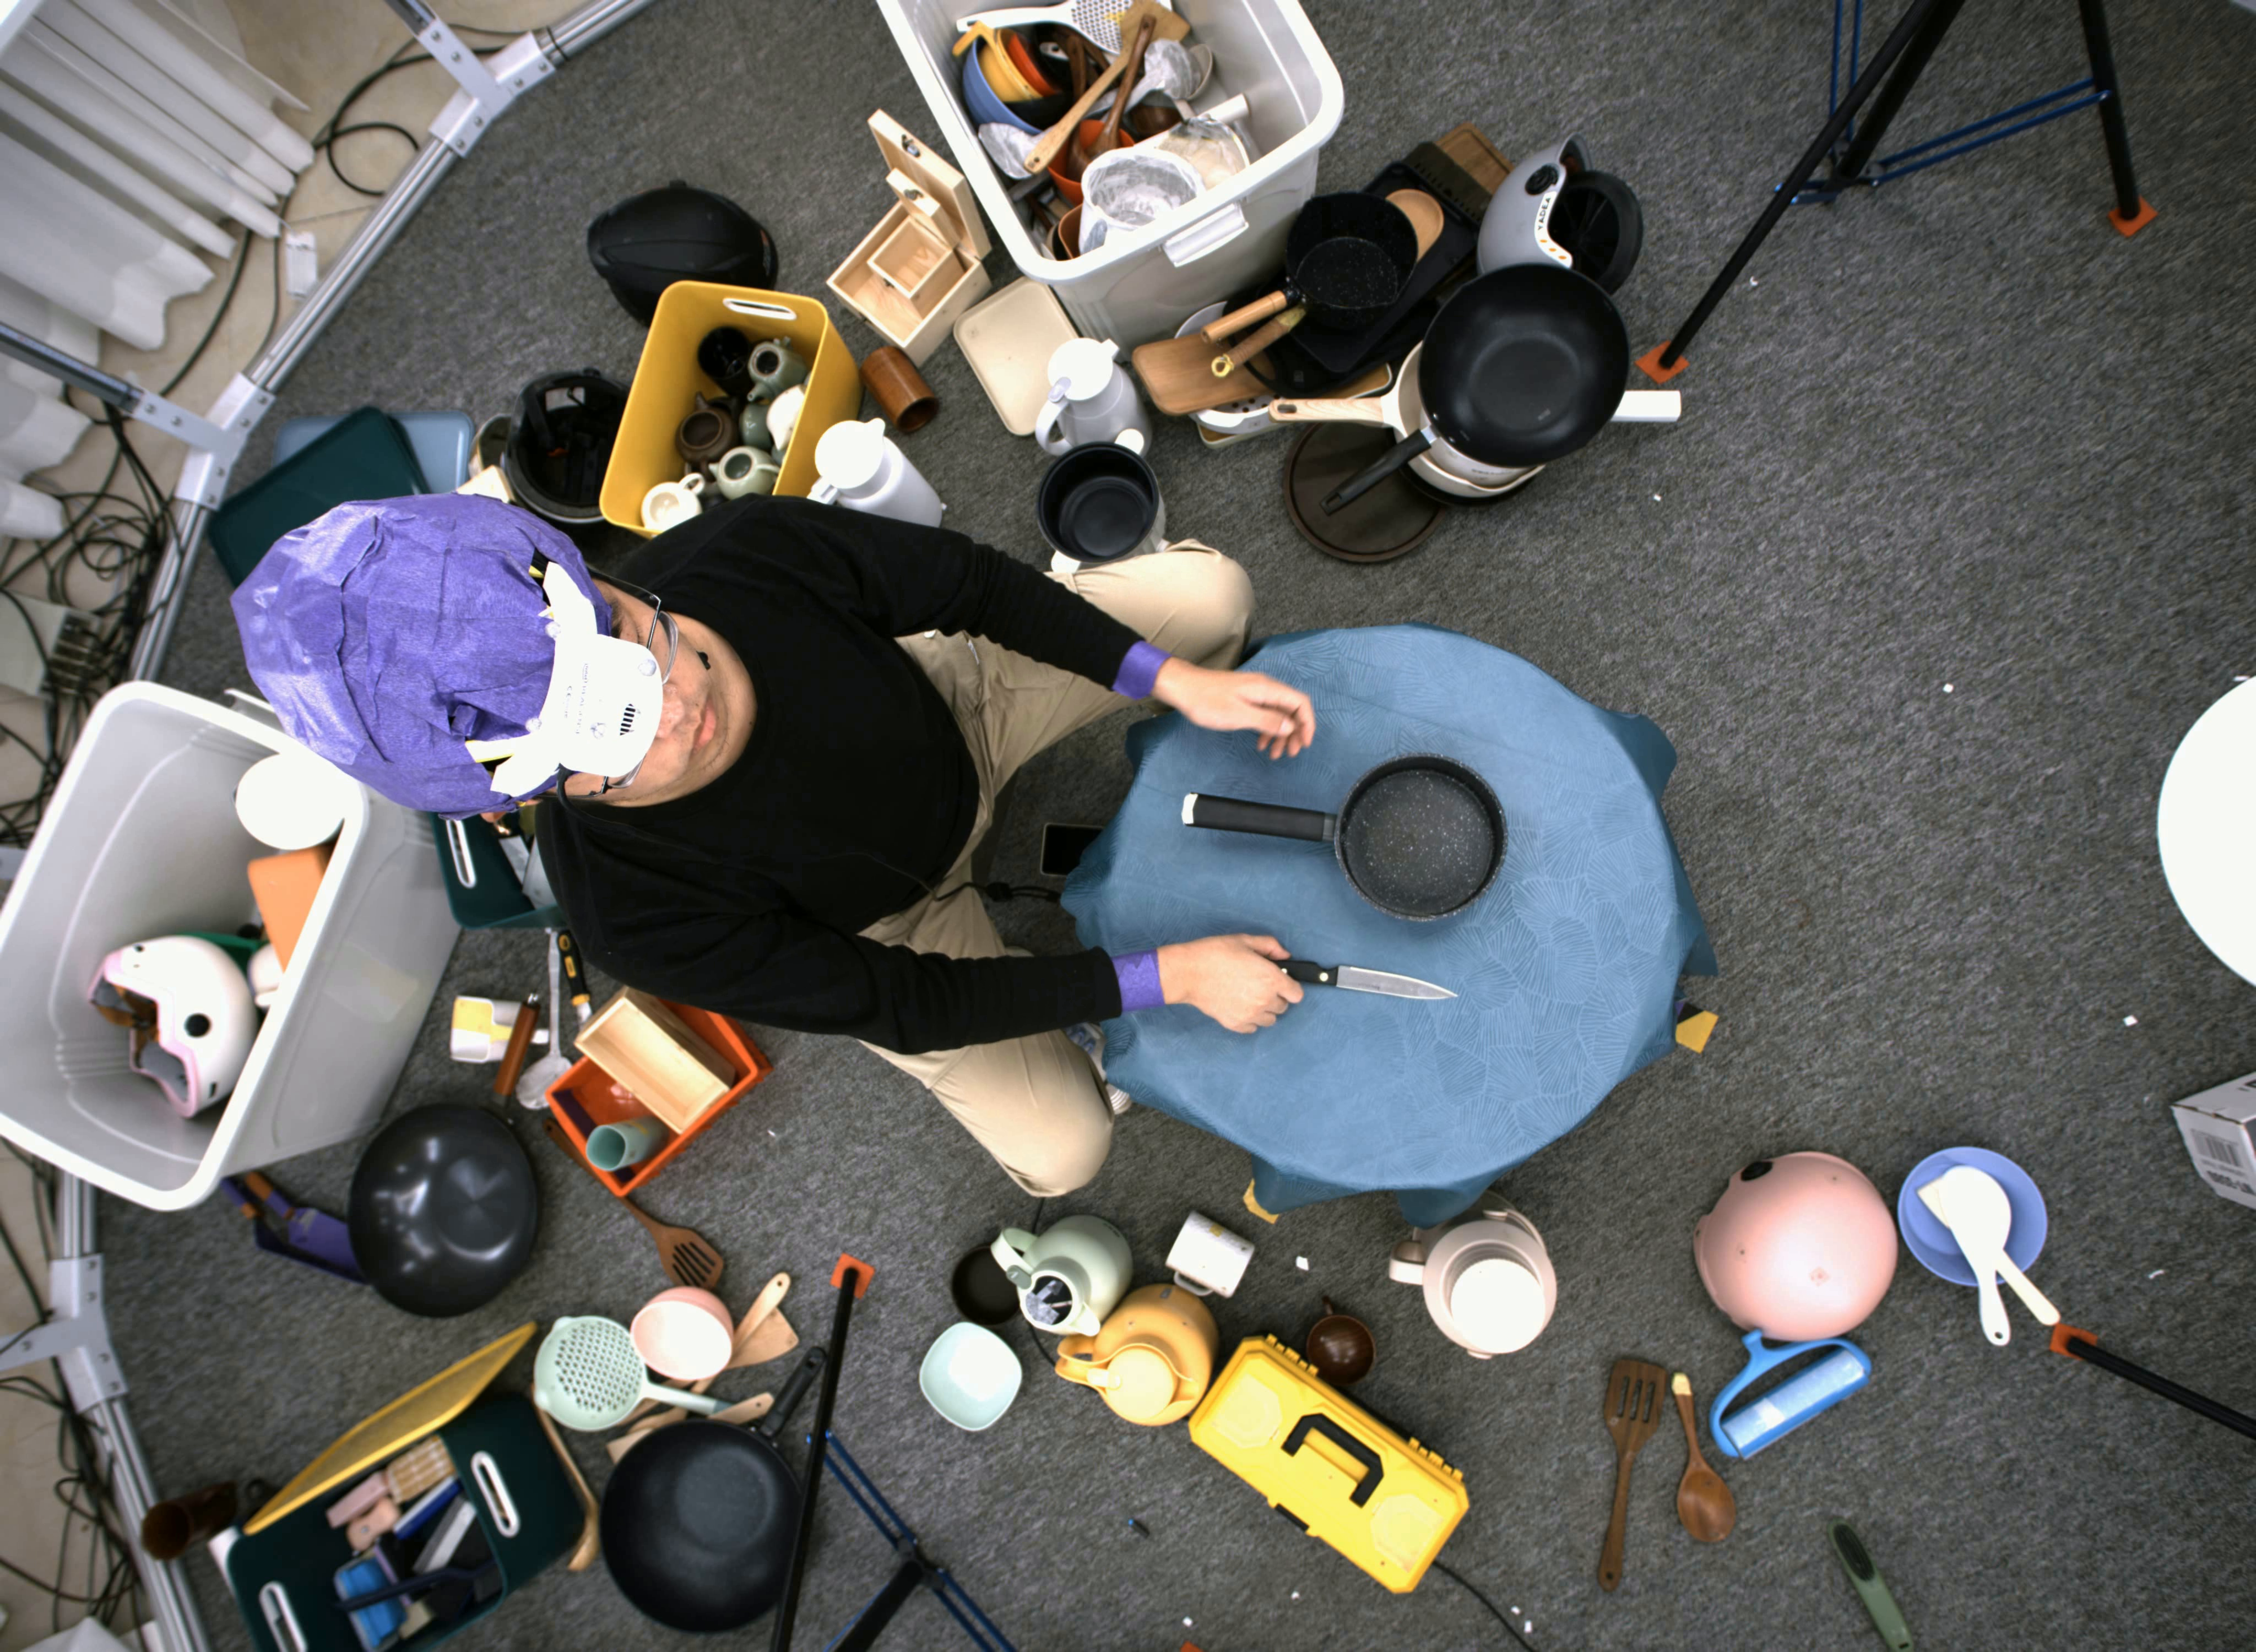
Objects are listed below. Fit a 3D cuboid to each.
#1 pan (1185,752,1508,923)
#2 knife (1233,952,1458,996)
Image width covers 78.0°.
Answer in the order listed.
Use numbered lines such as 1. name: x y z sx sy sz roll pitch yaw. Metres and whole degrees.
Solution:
1. pan: 0.223 0.000 1.431 0.329 0.086 0.171 10 88 10
2. knife: 0.228 0.159 1.460 0.239 0.016 0.024 8 88 8
